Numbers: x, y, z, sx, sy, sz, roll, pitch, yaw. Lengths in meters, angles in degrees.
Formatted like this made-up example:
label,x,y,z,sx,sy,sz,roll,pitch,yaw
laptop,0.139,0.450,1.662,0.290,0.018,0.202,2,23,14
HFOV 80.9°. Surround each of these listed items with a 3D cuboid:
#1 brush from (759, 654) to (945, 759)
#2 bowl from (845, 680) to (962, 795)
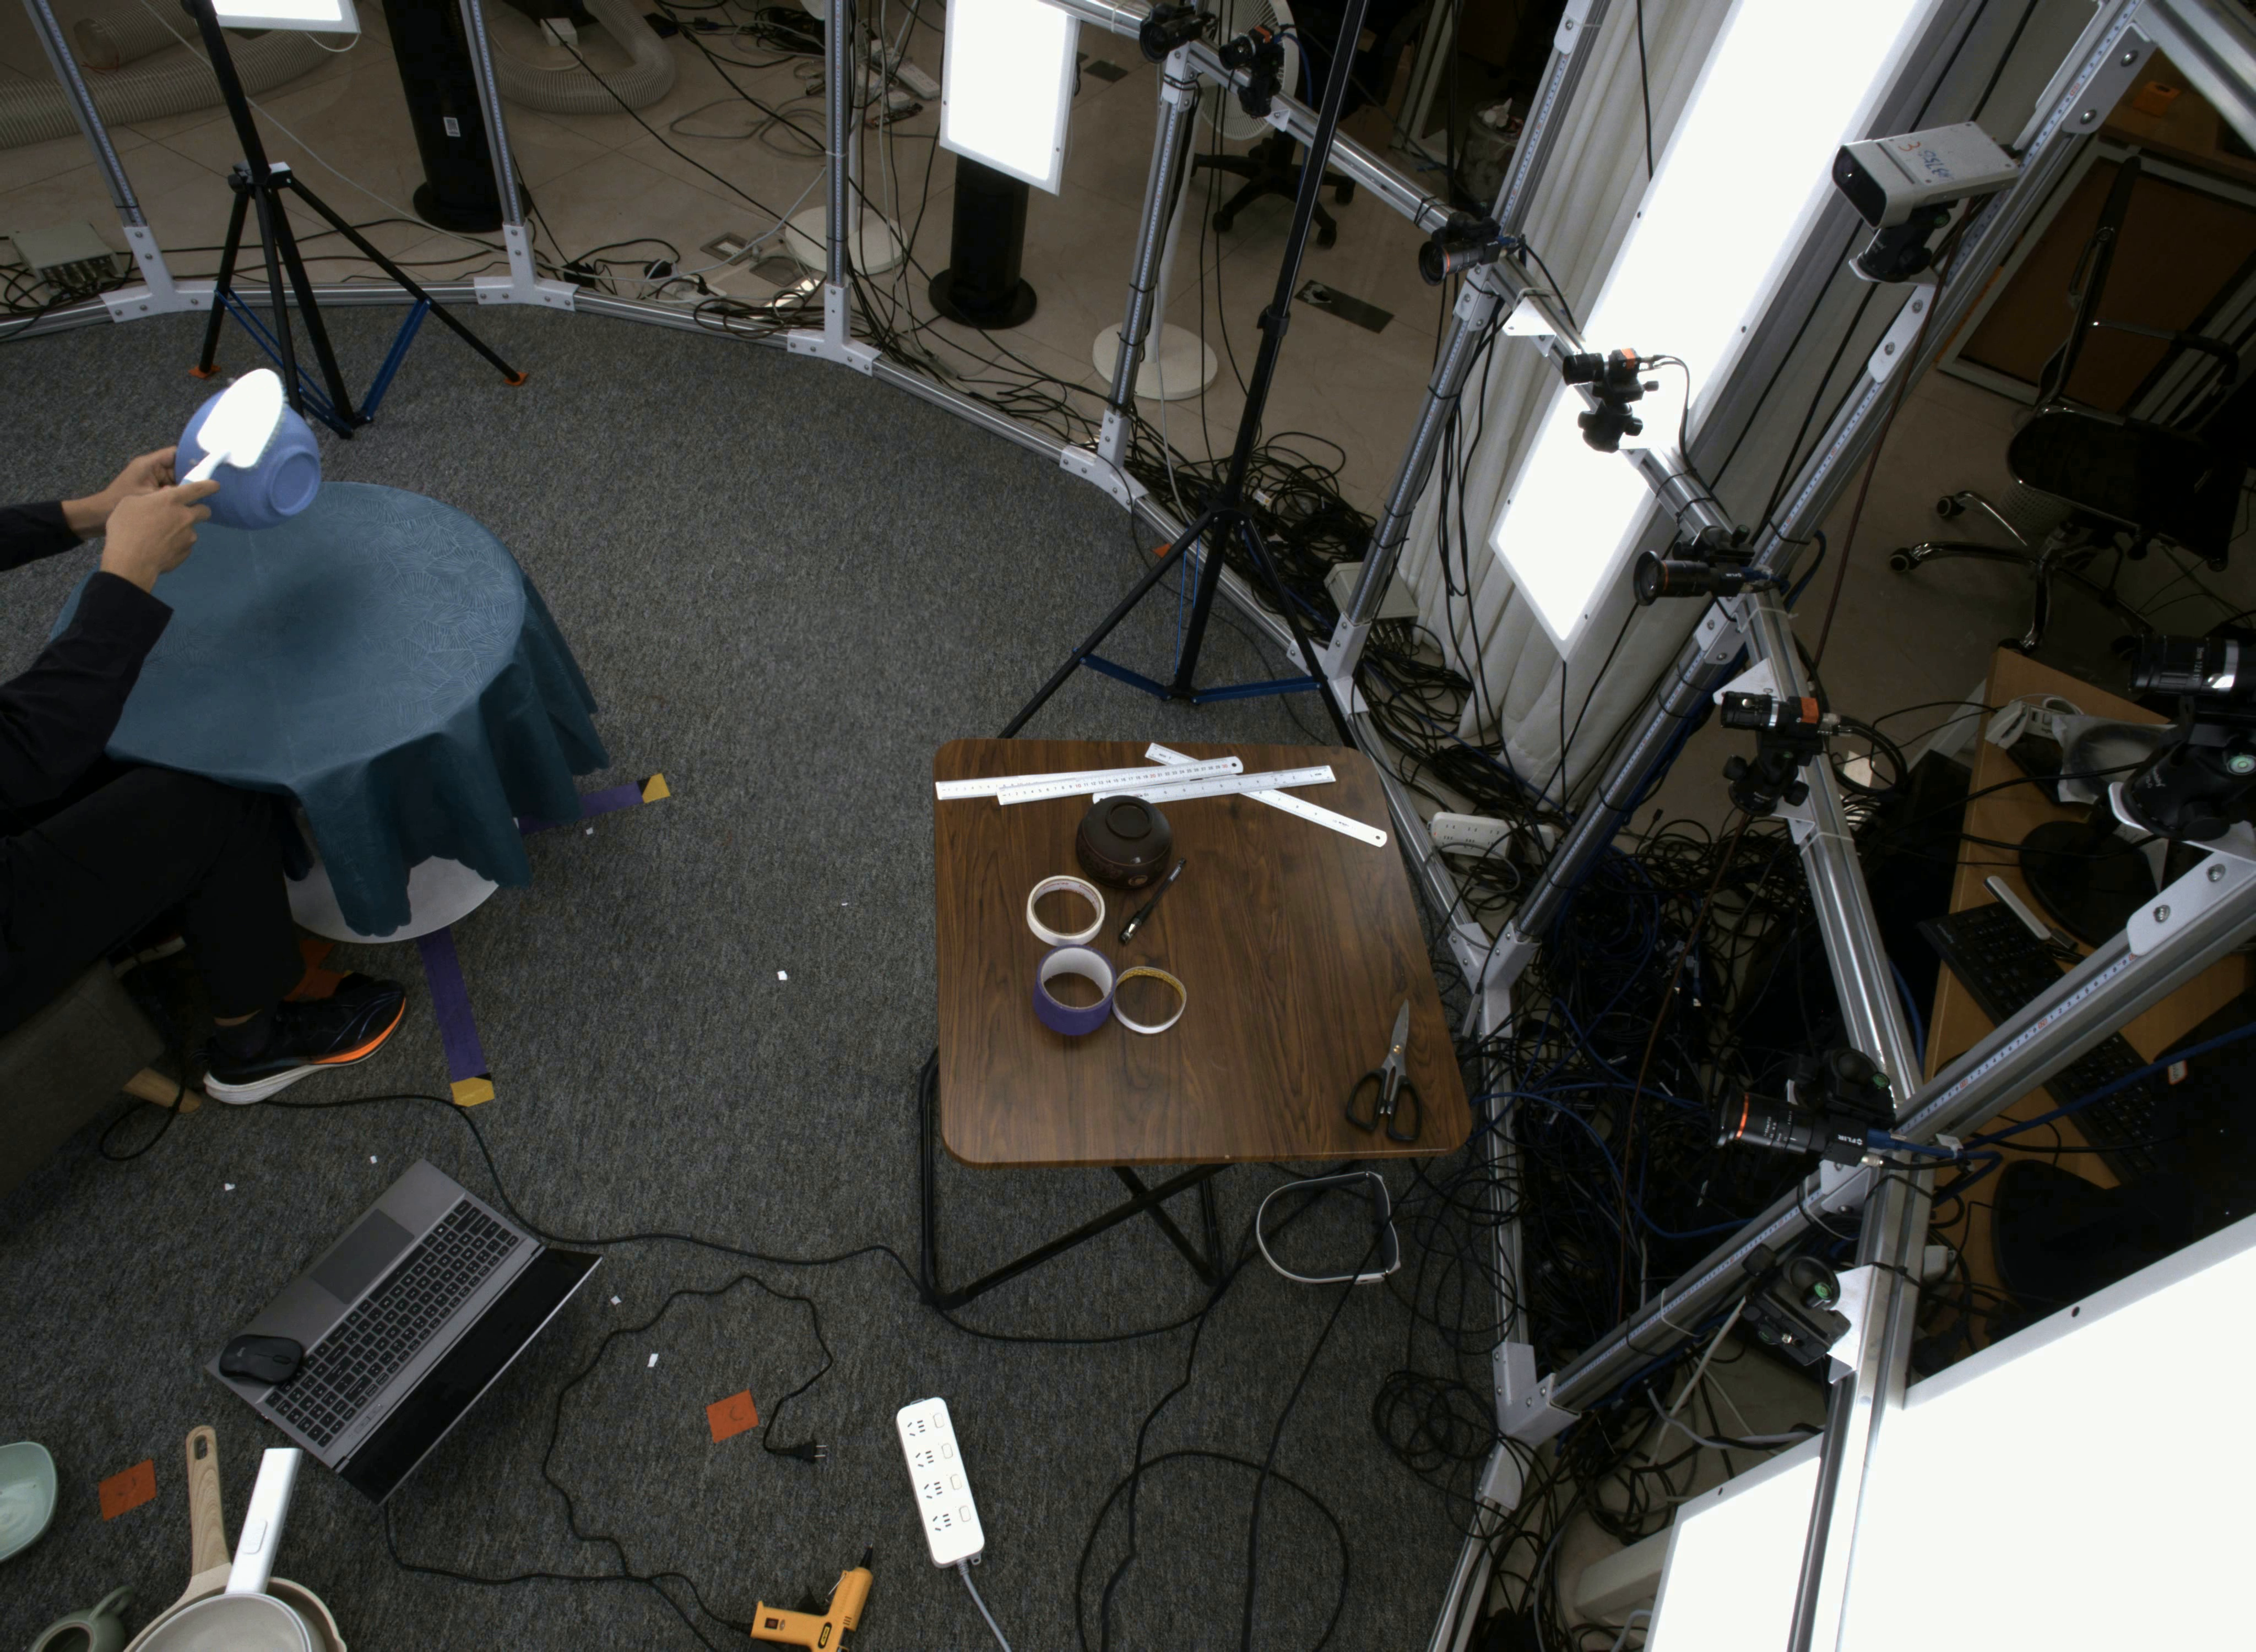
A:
label,x,y,z,sx,sy,sz,roll,pitch,yaw
brush,-0.407,-0.164,1.915,0.326,0.087,0.080,-34,36,-31
bowl,-0.336,-0.130,2.040,0.199,0.201,0.092,-14,36,-39
